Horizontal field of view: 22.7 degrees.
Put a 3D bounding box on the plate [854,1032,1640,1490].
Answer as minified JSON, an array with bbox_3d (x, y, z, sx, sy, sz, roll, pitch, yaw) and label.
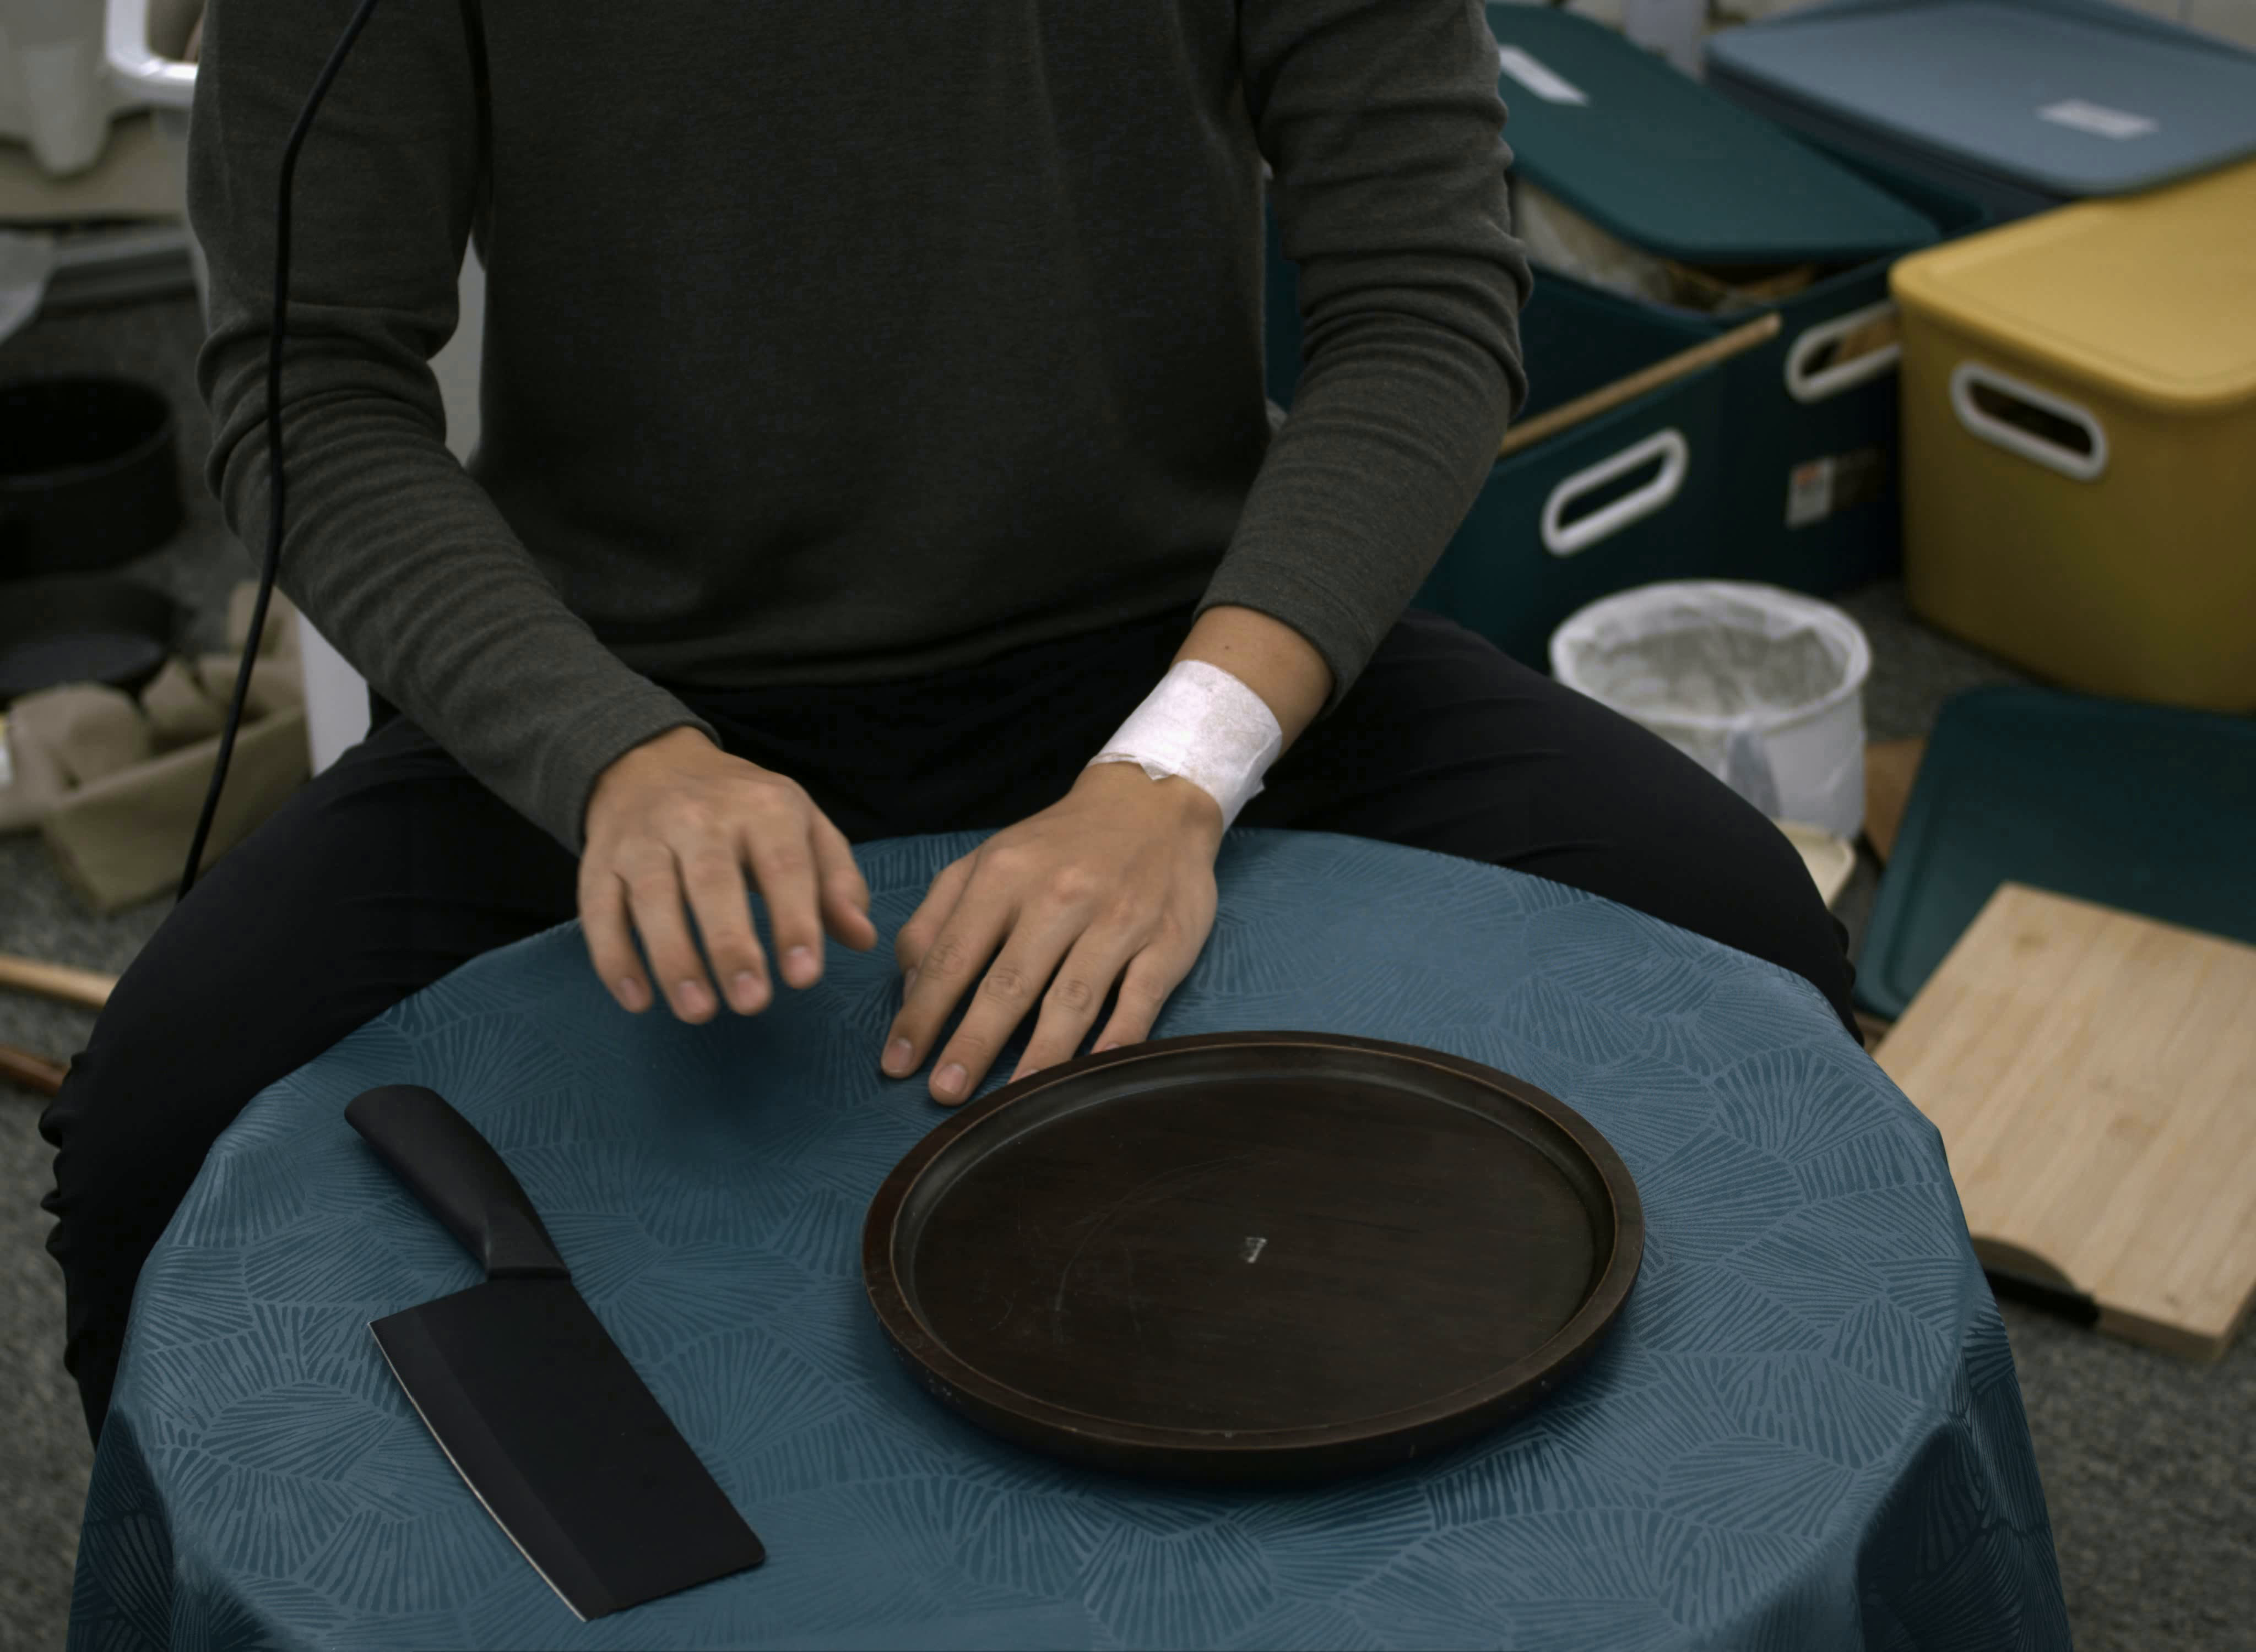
[{"bbox_3d":[0.038,0.137,1.804,0.253,0.029,0.259,-3,28,2],"label":"plate"}]

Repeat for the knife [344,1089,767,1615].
[{"bbox_3d":[-0.198,0.163,1.786,0.081,0.020,0.305,-14,31,-17],"label":"knife"}]
